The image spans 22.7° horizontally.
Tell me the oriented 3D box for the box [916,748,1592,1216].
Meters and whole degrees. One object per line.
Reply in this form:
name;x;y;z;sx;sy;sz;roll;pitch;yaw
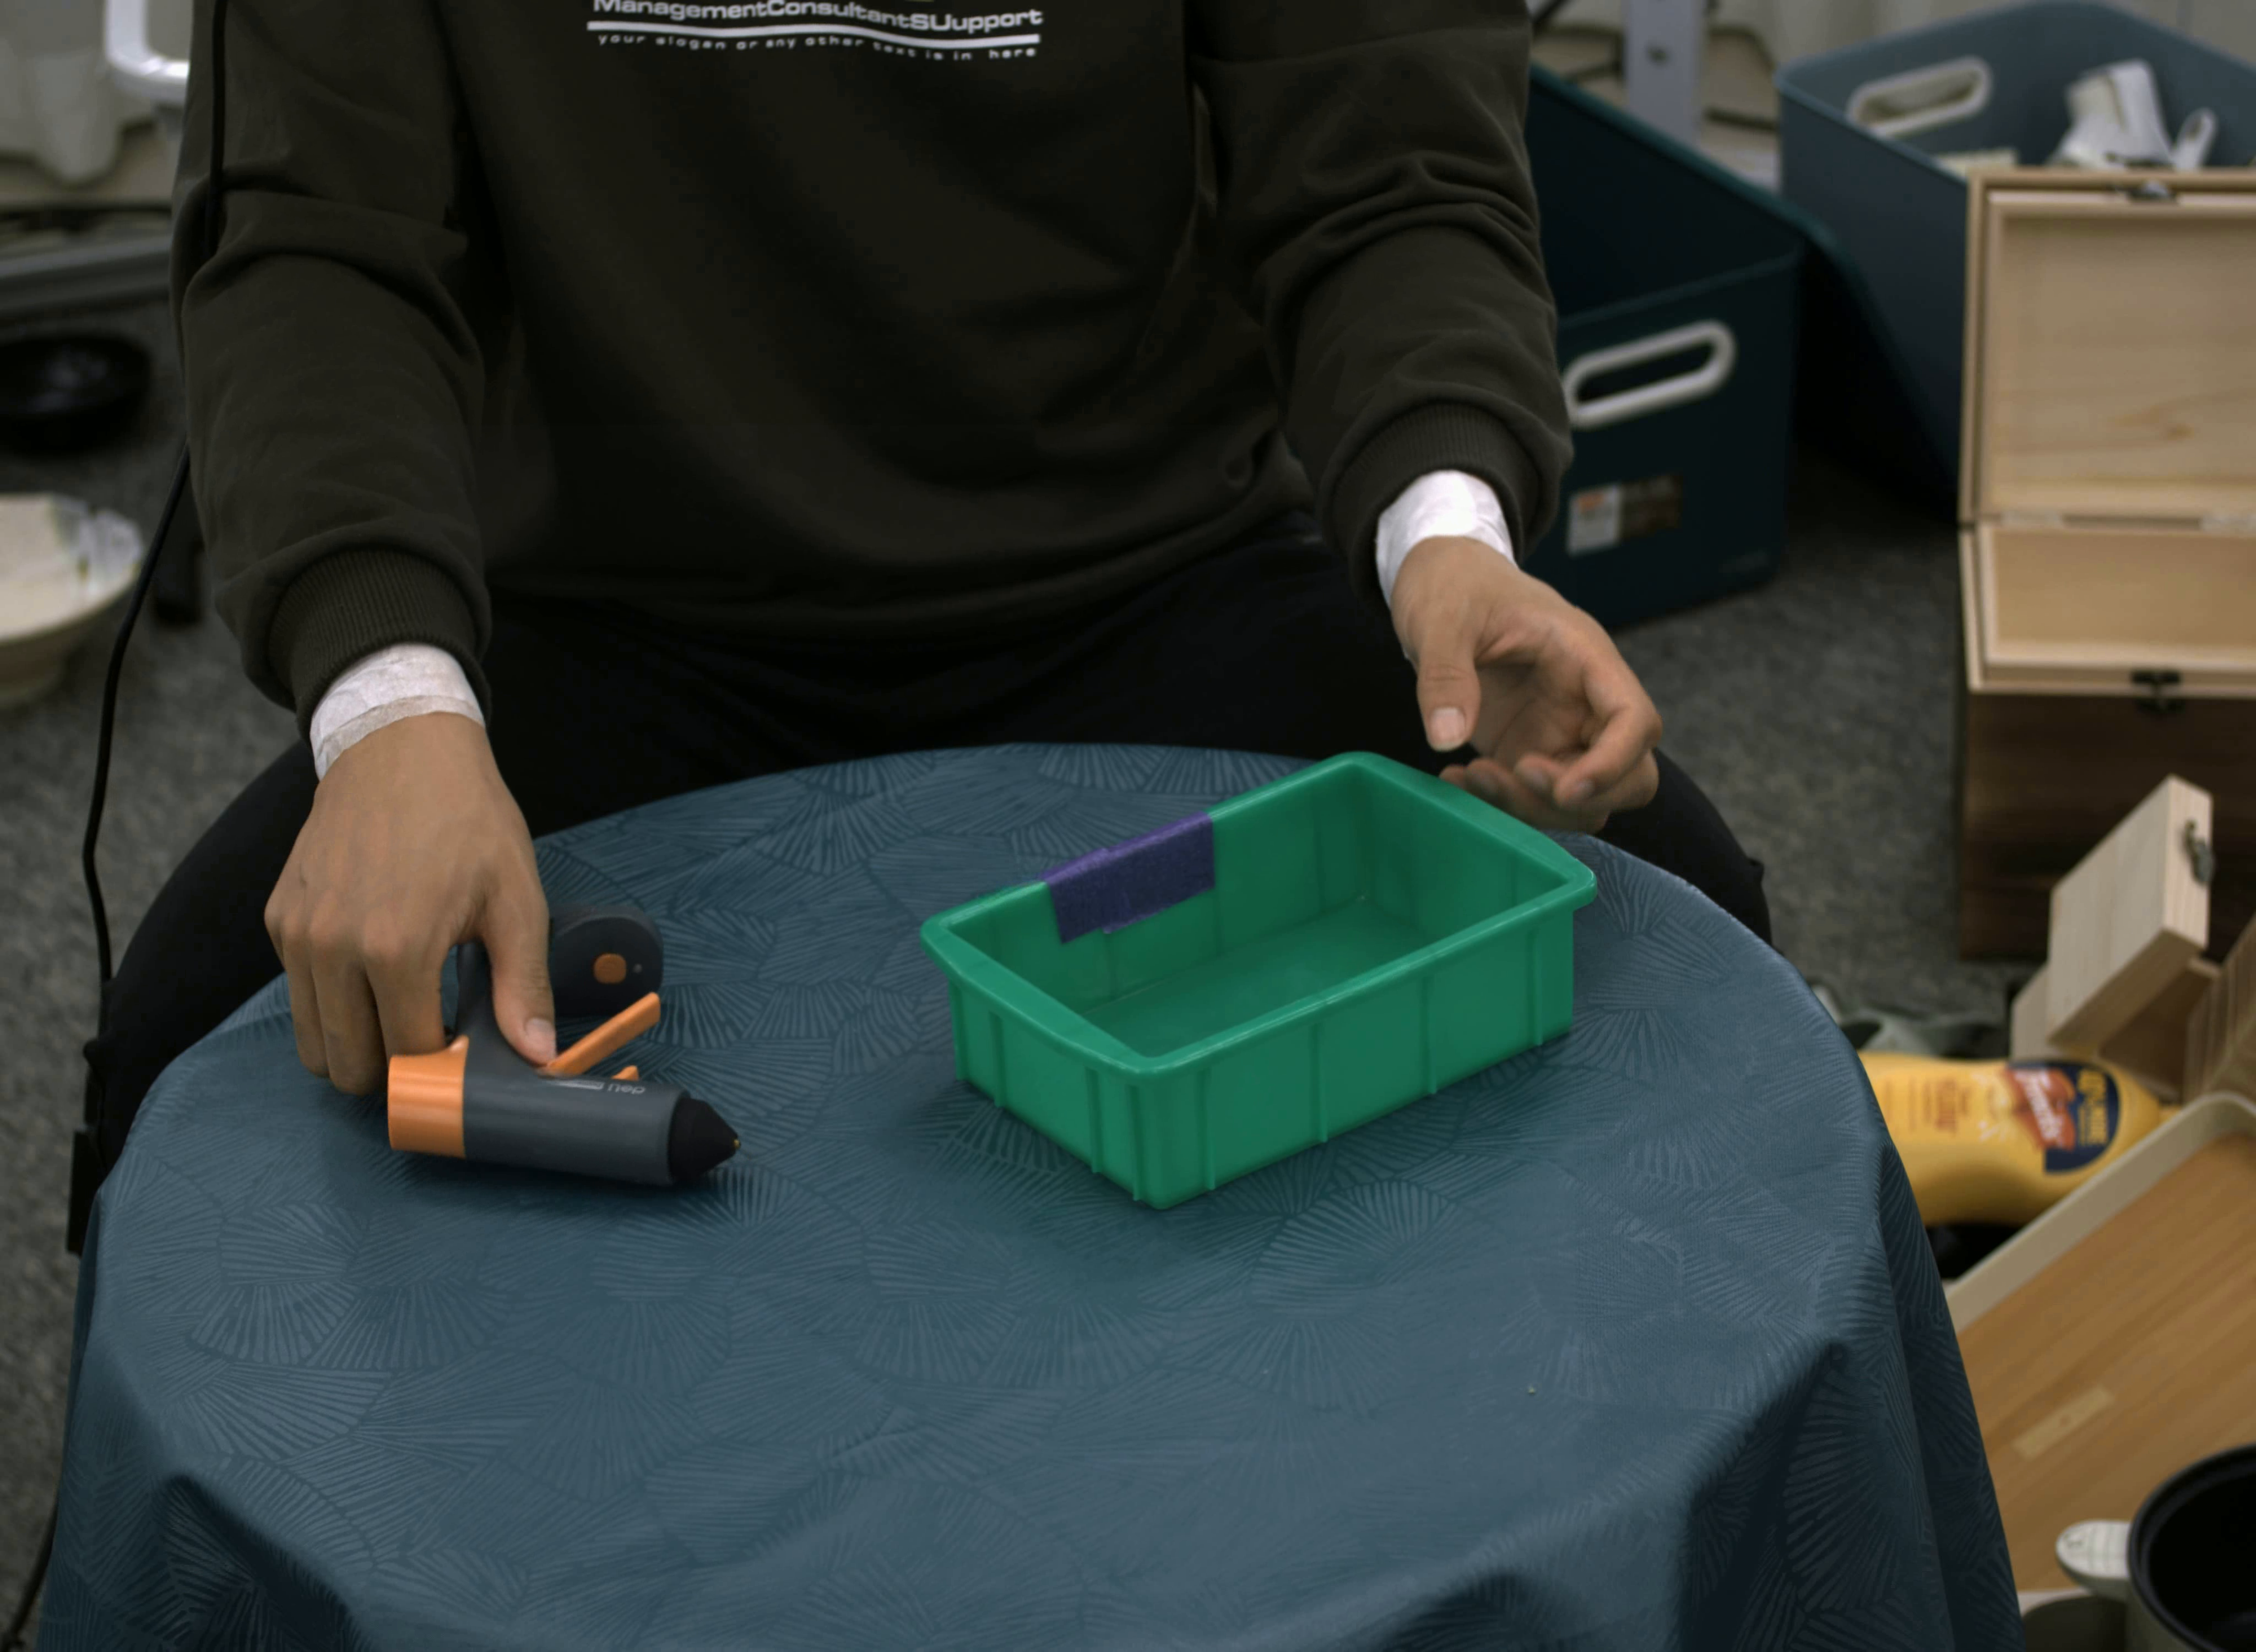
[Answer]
box;0.045;0.053;1.927;0.212;0.064;0.139;-24;33;-31

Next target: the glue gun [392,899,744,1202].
glue gun;-0.191;0.080;1.925;0.117;0.040;0.142;7;27;-10
